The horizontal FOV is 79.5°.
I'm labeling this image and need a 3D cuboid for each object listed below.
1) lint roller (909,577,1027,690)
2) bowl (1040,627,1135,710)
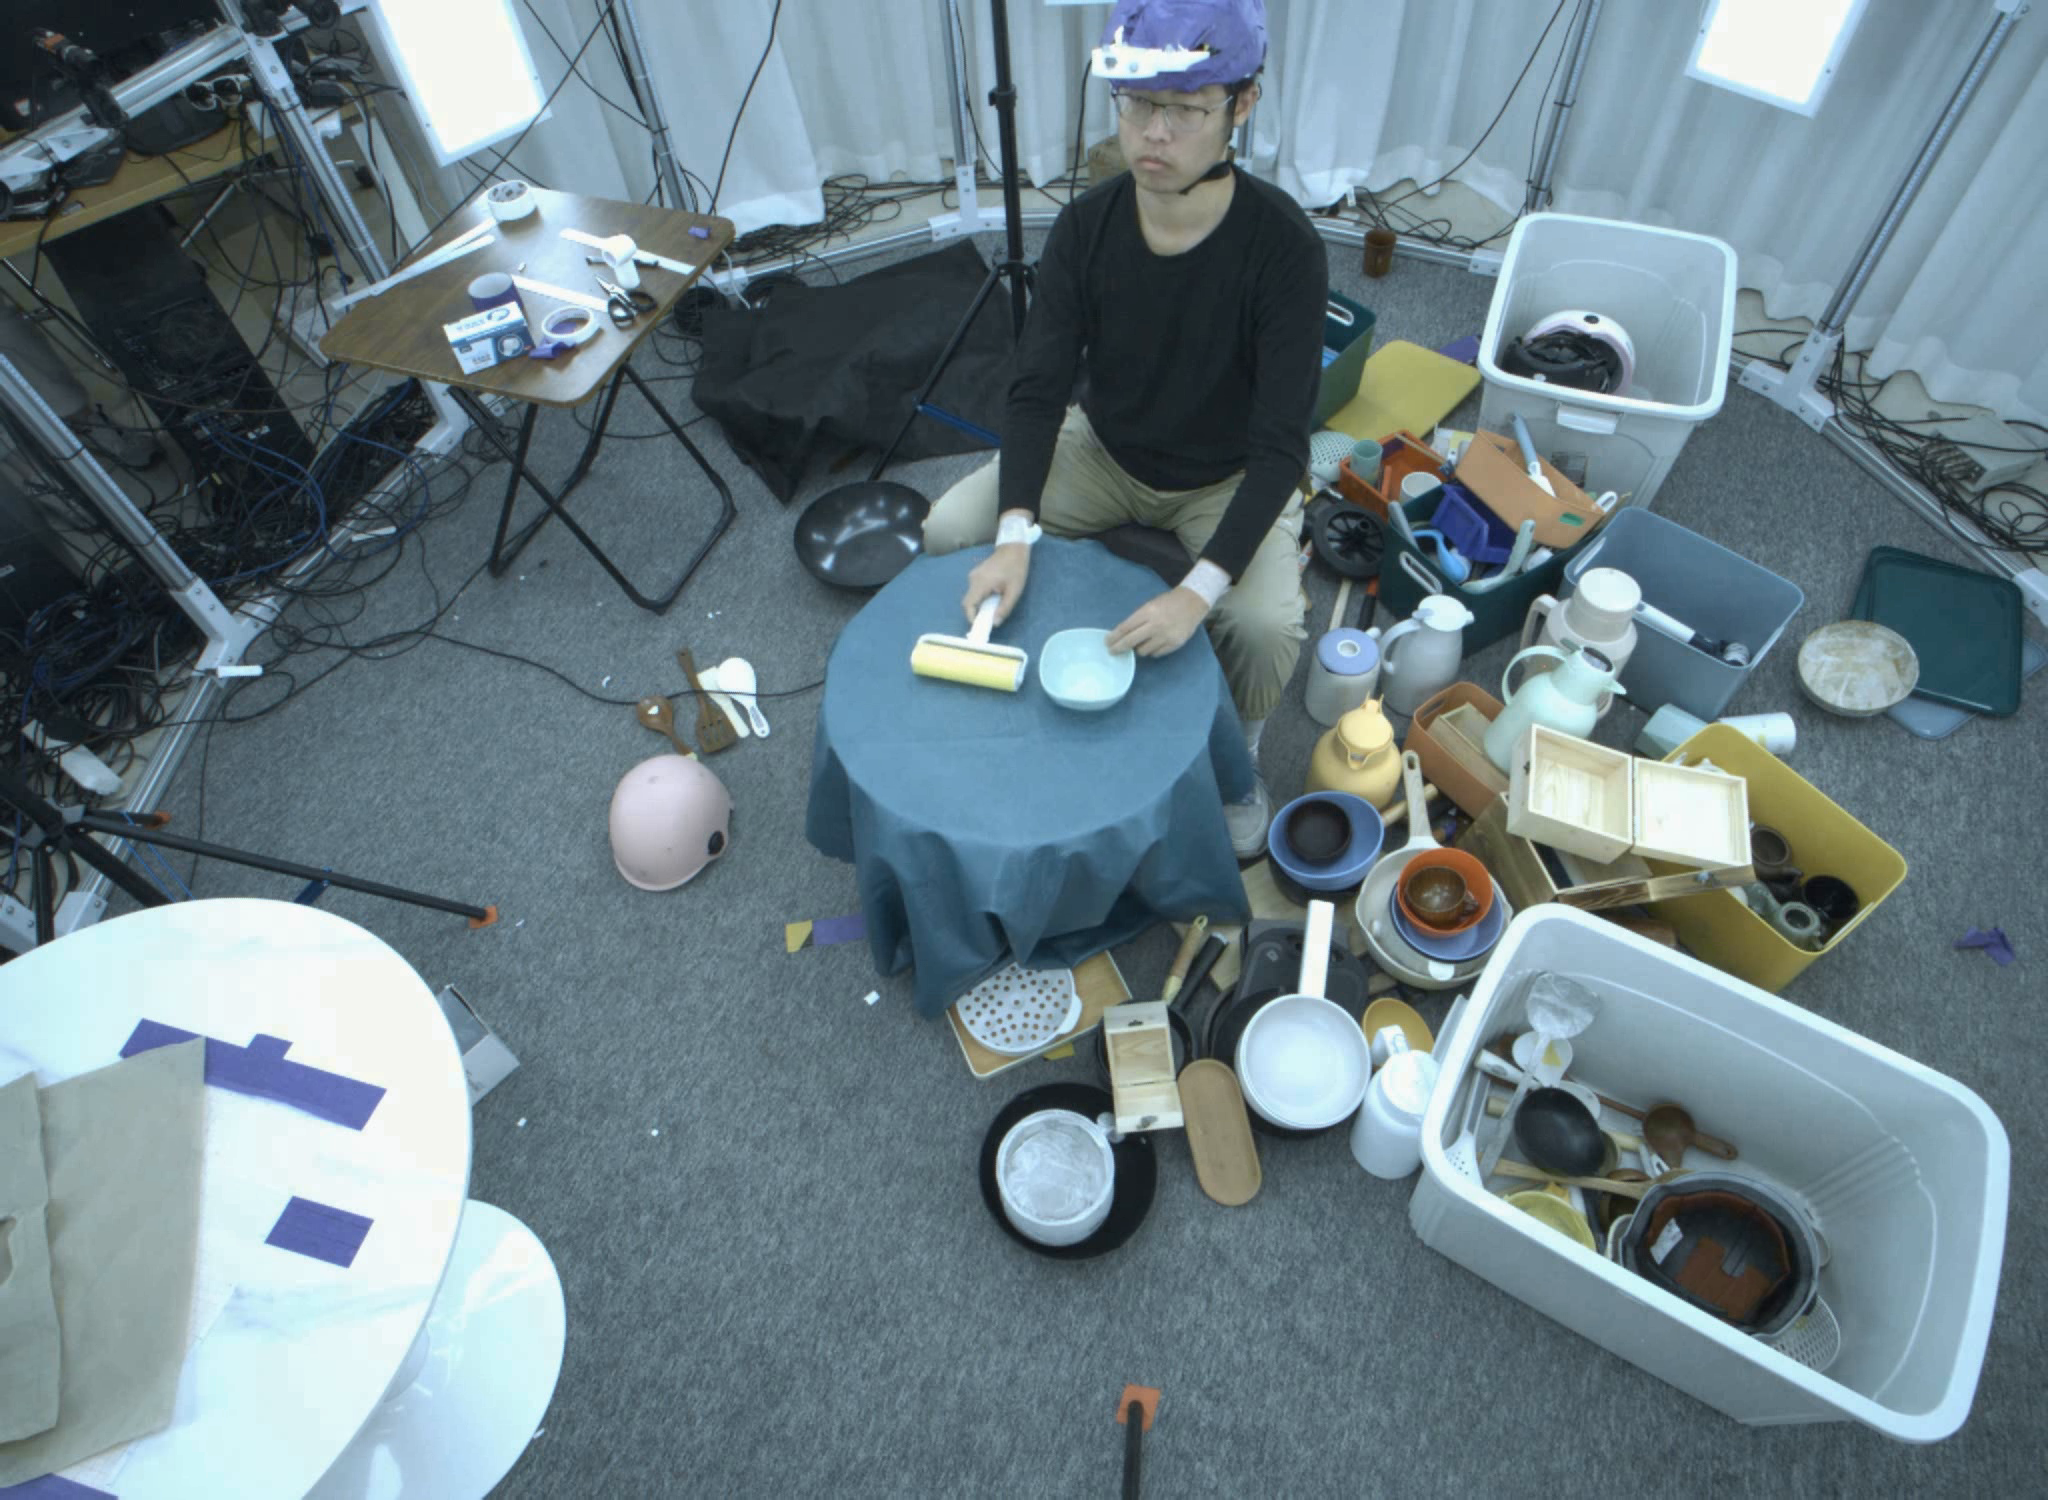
[{"bbox_3d":[-0.071,-0.190,1.873,0.173,0.052,0.191,9,70,10],"label":"lint roller"},{"bbox_3d":[0.095,-0.111,1.828,0.151,0.059,0.150,-1,56,3],"label":"bowl"}]
